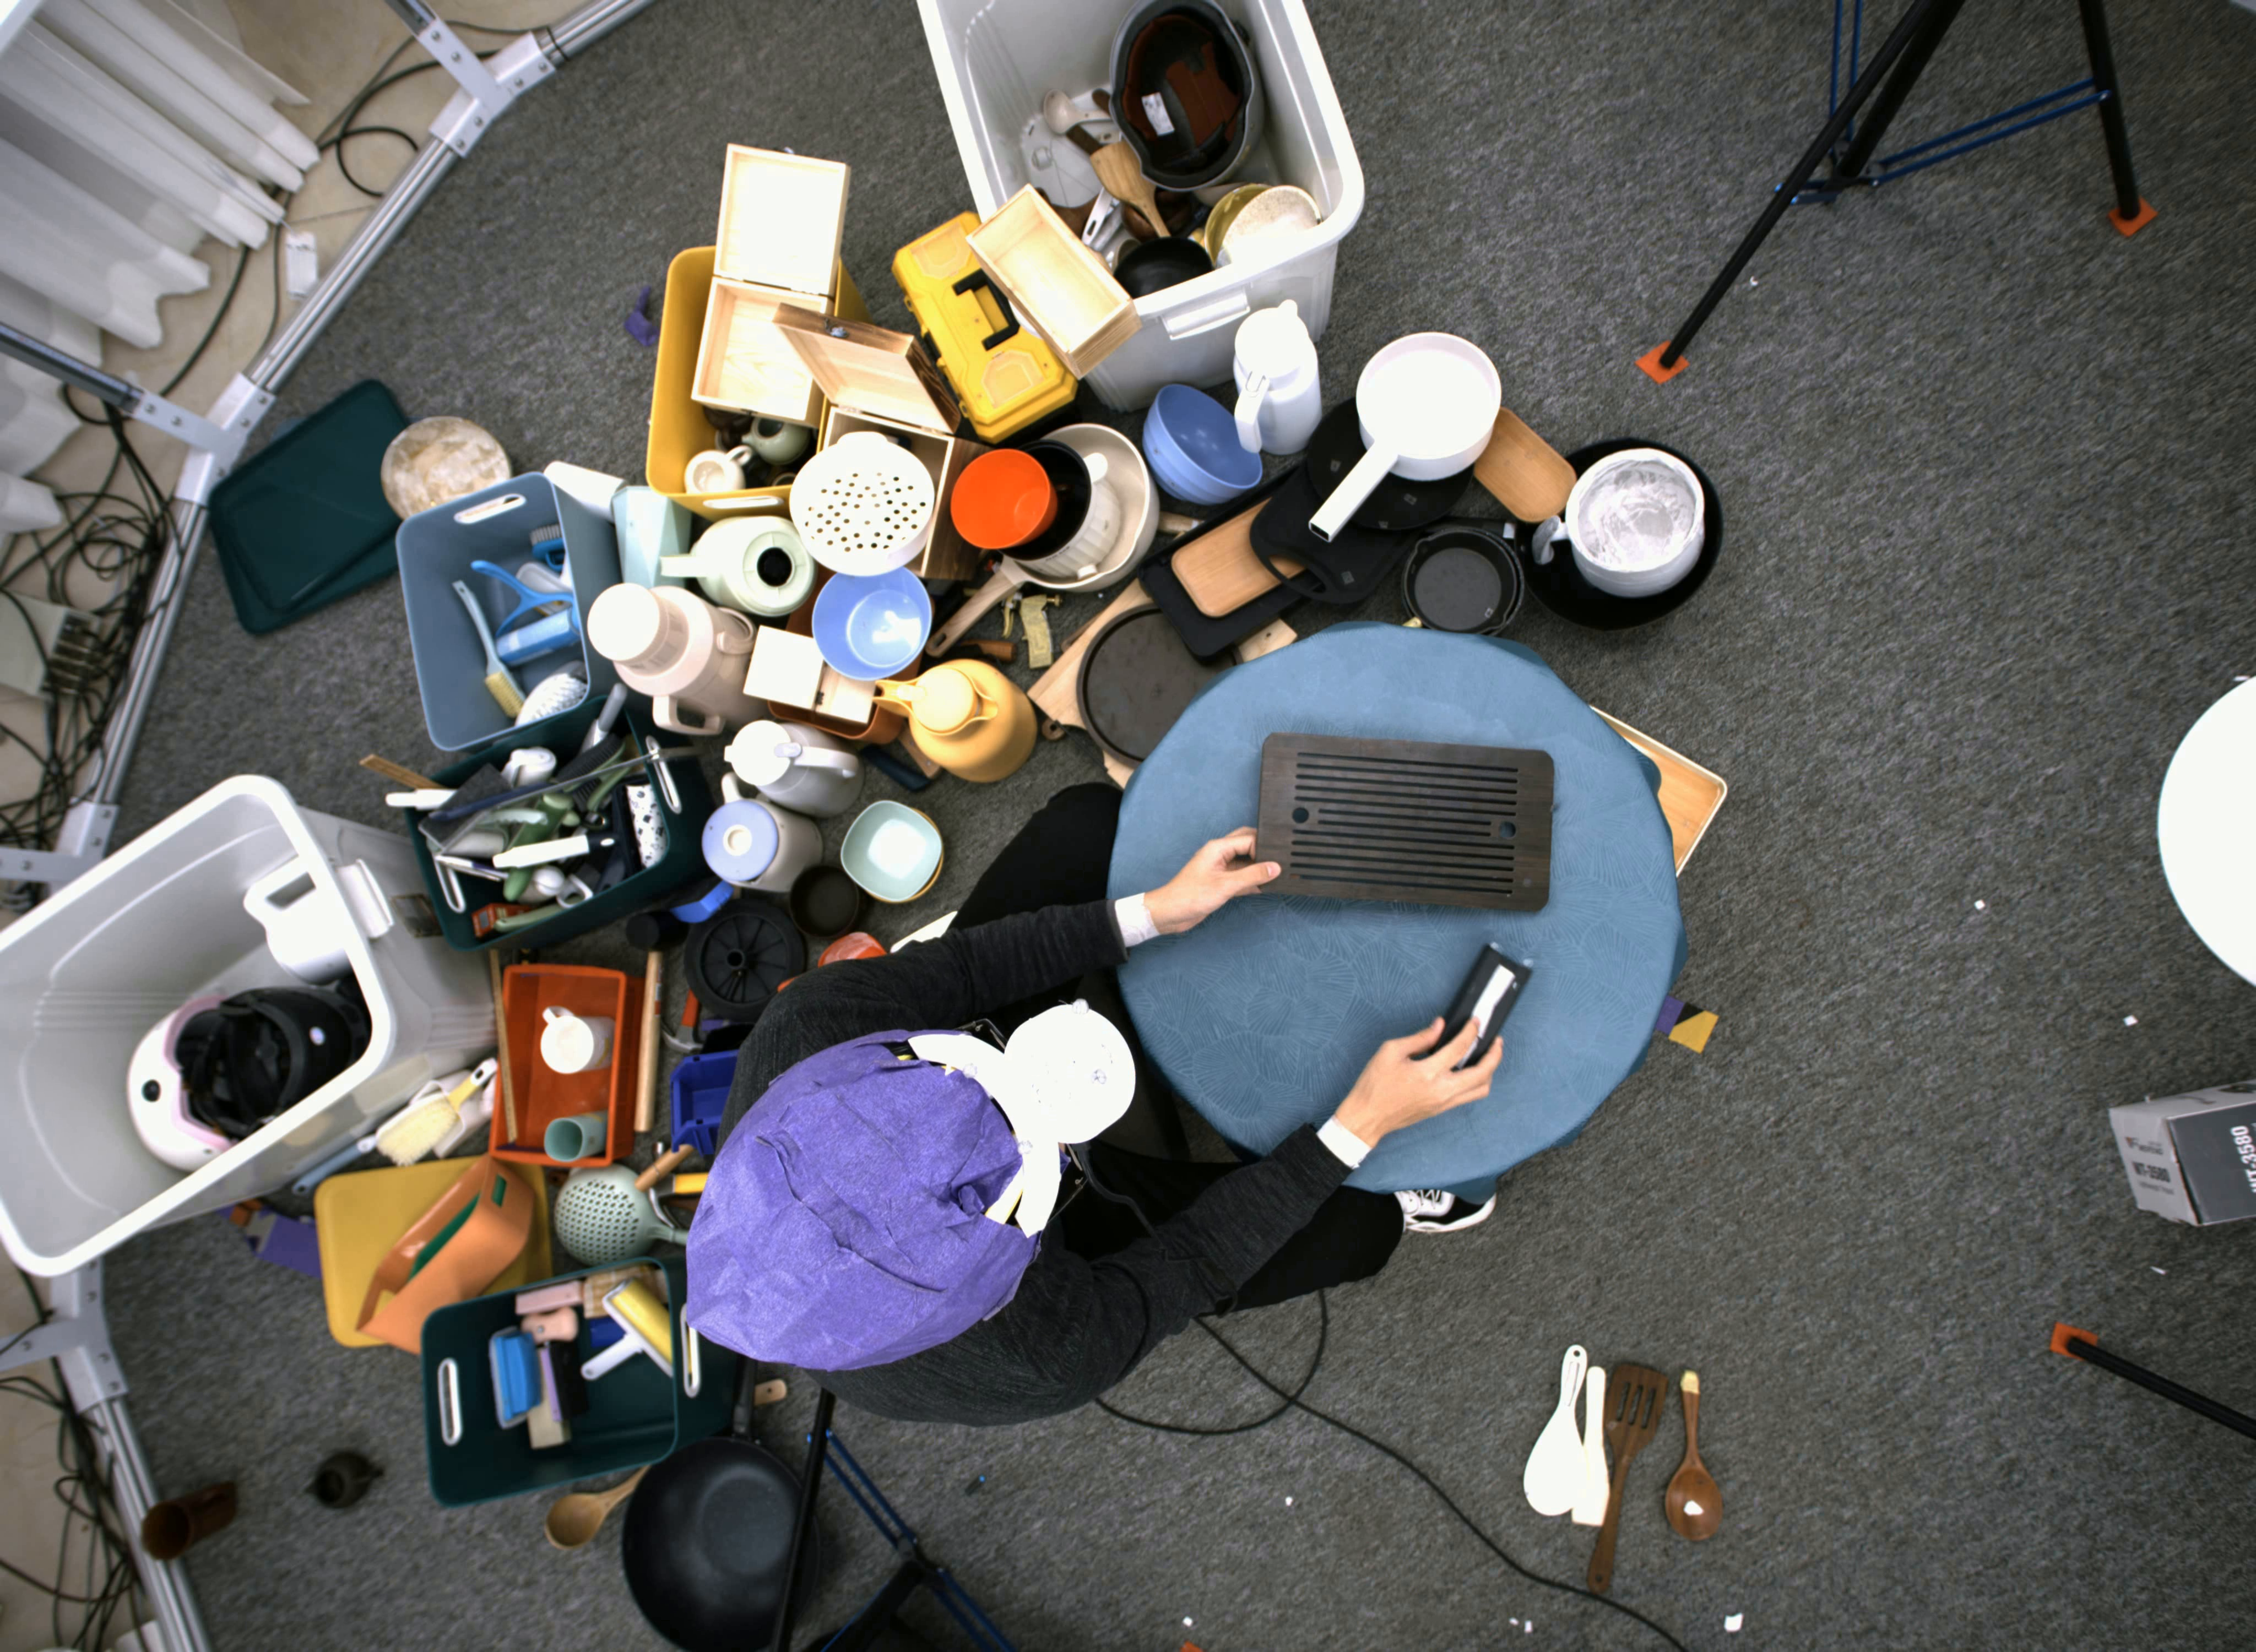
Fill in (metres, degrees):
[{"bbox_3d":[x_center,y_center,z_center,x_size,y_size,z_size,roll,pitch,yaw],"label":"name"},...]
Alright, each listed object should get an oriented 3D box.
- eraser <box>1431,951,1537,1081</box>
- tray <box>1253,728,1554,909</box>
[{"bbox_3d":[0.360,0.189,1.397,0.053,0.030,0.126,29,96,5],"label":"eraser"},{"bbox_3d":[0.286,-0.010,1.431,0.306,0.018,0.169,4,87,2],"label":"tray"}]
